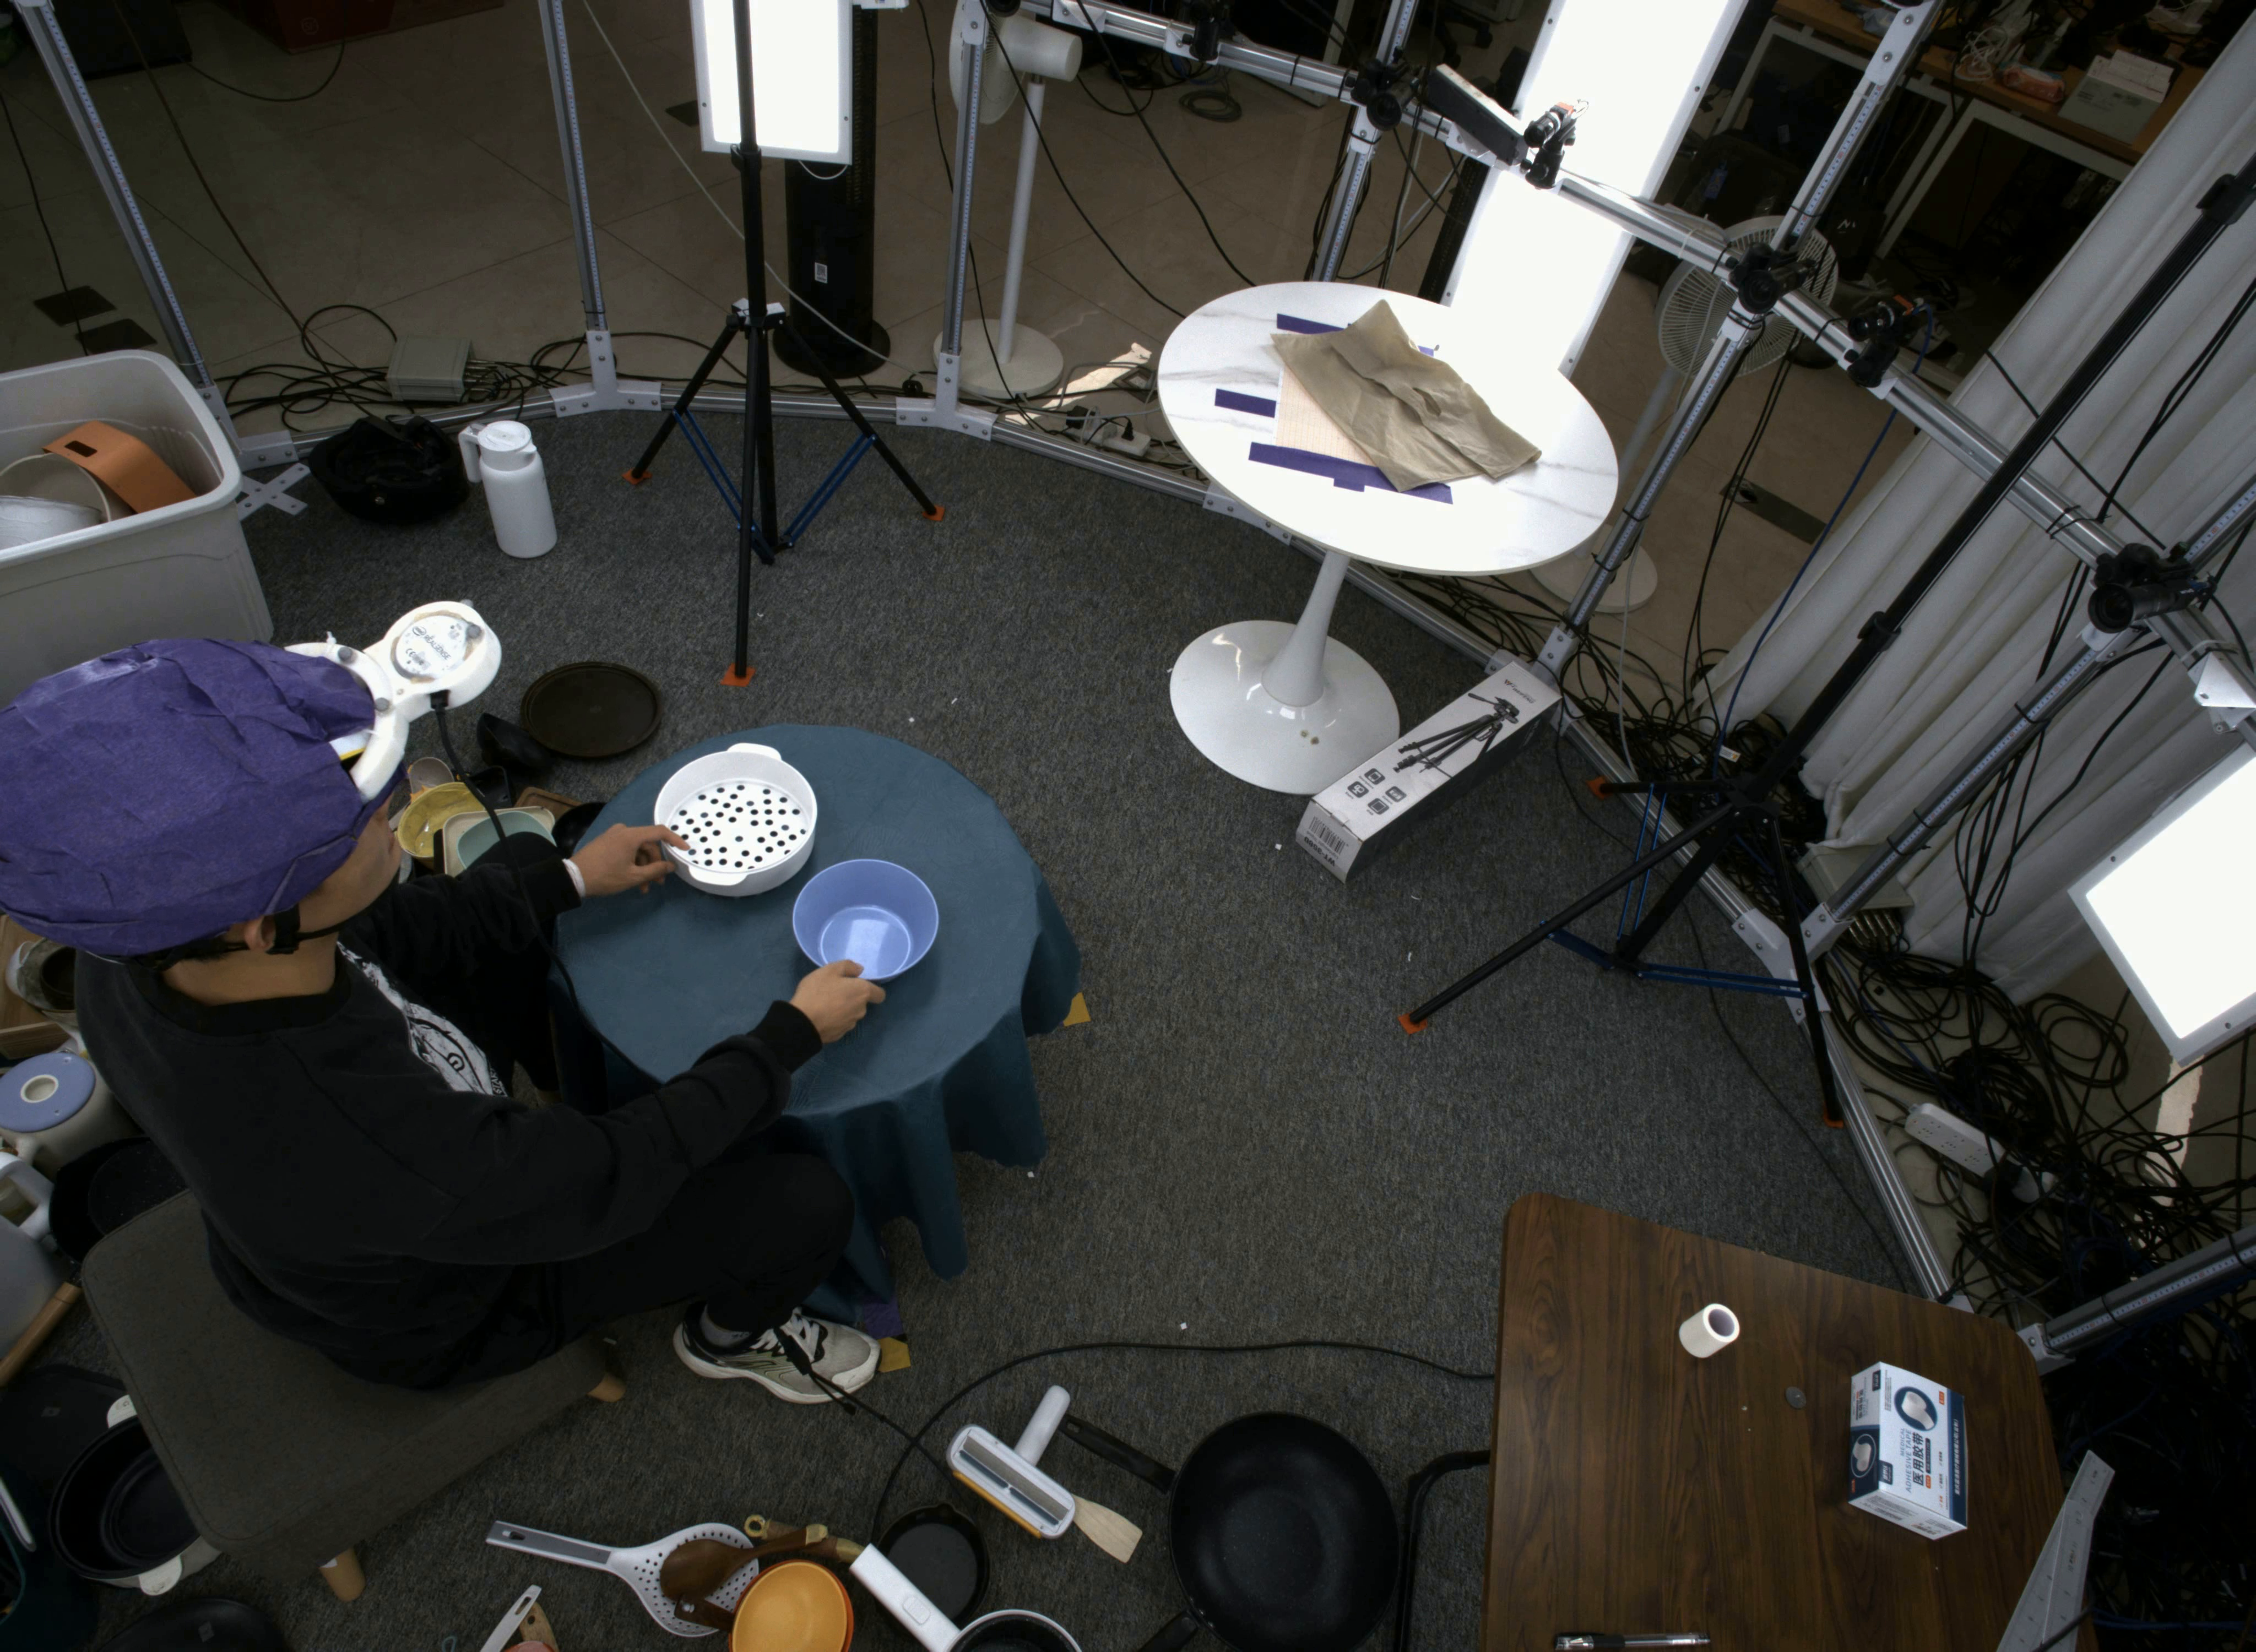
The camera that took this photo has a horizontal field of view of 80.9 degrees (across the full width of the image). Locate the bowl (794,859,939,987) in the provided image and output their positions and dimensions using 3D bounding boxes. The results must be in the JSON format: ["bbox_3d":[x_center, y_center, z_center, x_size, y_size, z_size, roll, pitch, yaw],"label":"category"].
[{"bbox_3d":[-0.323,0.130,1.613,0.175,0.072,0.173,7,52,-8],"label":"bowl"}]

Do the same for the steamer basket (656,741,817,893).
[{"bbox_3d":[-0.504,-0.007,1.669,0.201,0.071,0.226,9,50,-8],"label":"steamer basket"}]
